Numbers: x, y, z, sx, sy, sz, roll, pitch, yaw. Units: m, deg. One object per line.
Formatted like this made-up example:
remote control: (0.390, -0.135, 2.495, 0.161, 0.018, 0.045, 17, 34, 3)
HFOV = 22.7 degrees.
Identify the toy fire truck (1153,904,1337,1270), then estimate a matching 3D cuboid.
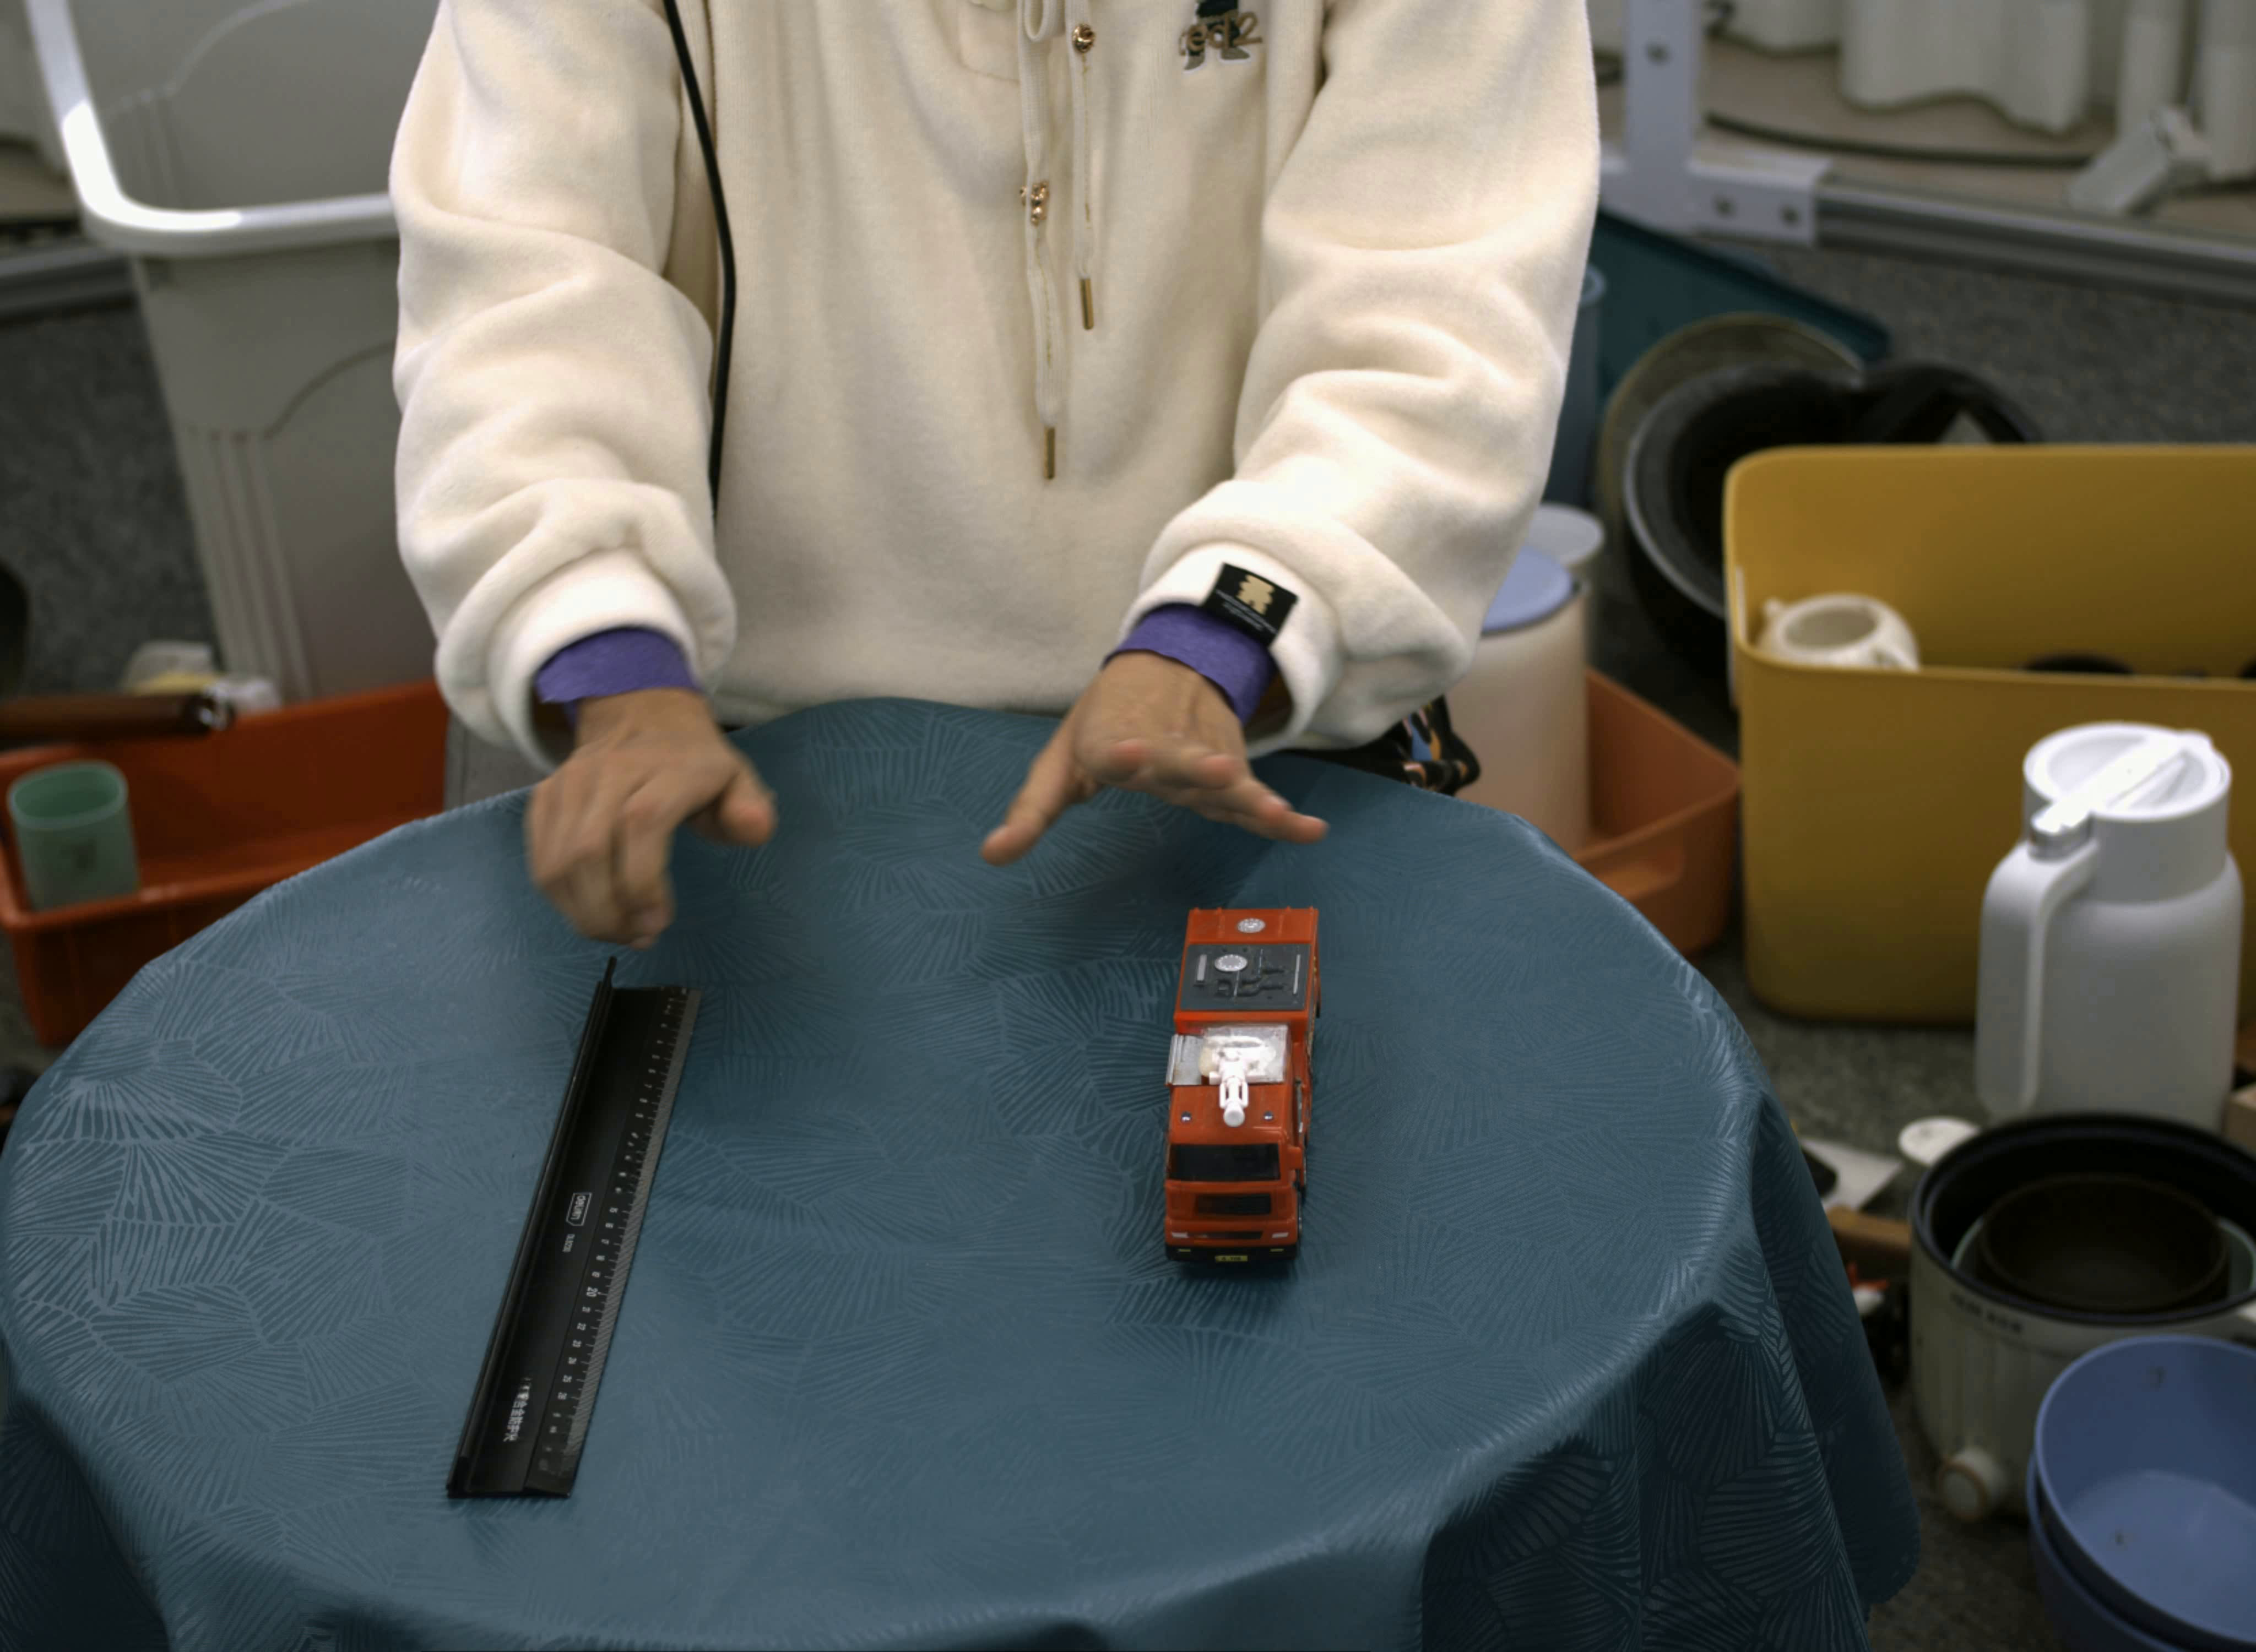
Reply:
toy fire truck: (0.040, 0.085, 1.865, 0.053, 0.069, 0.170, -1, 26, 6)

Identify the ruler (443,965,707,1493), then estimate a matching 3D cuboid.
ruler: (-0.180, 0.127, 1.852, 0.039, 0.017, 0.317, 3, 27, 4)
